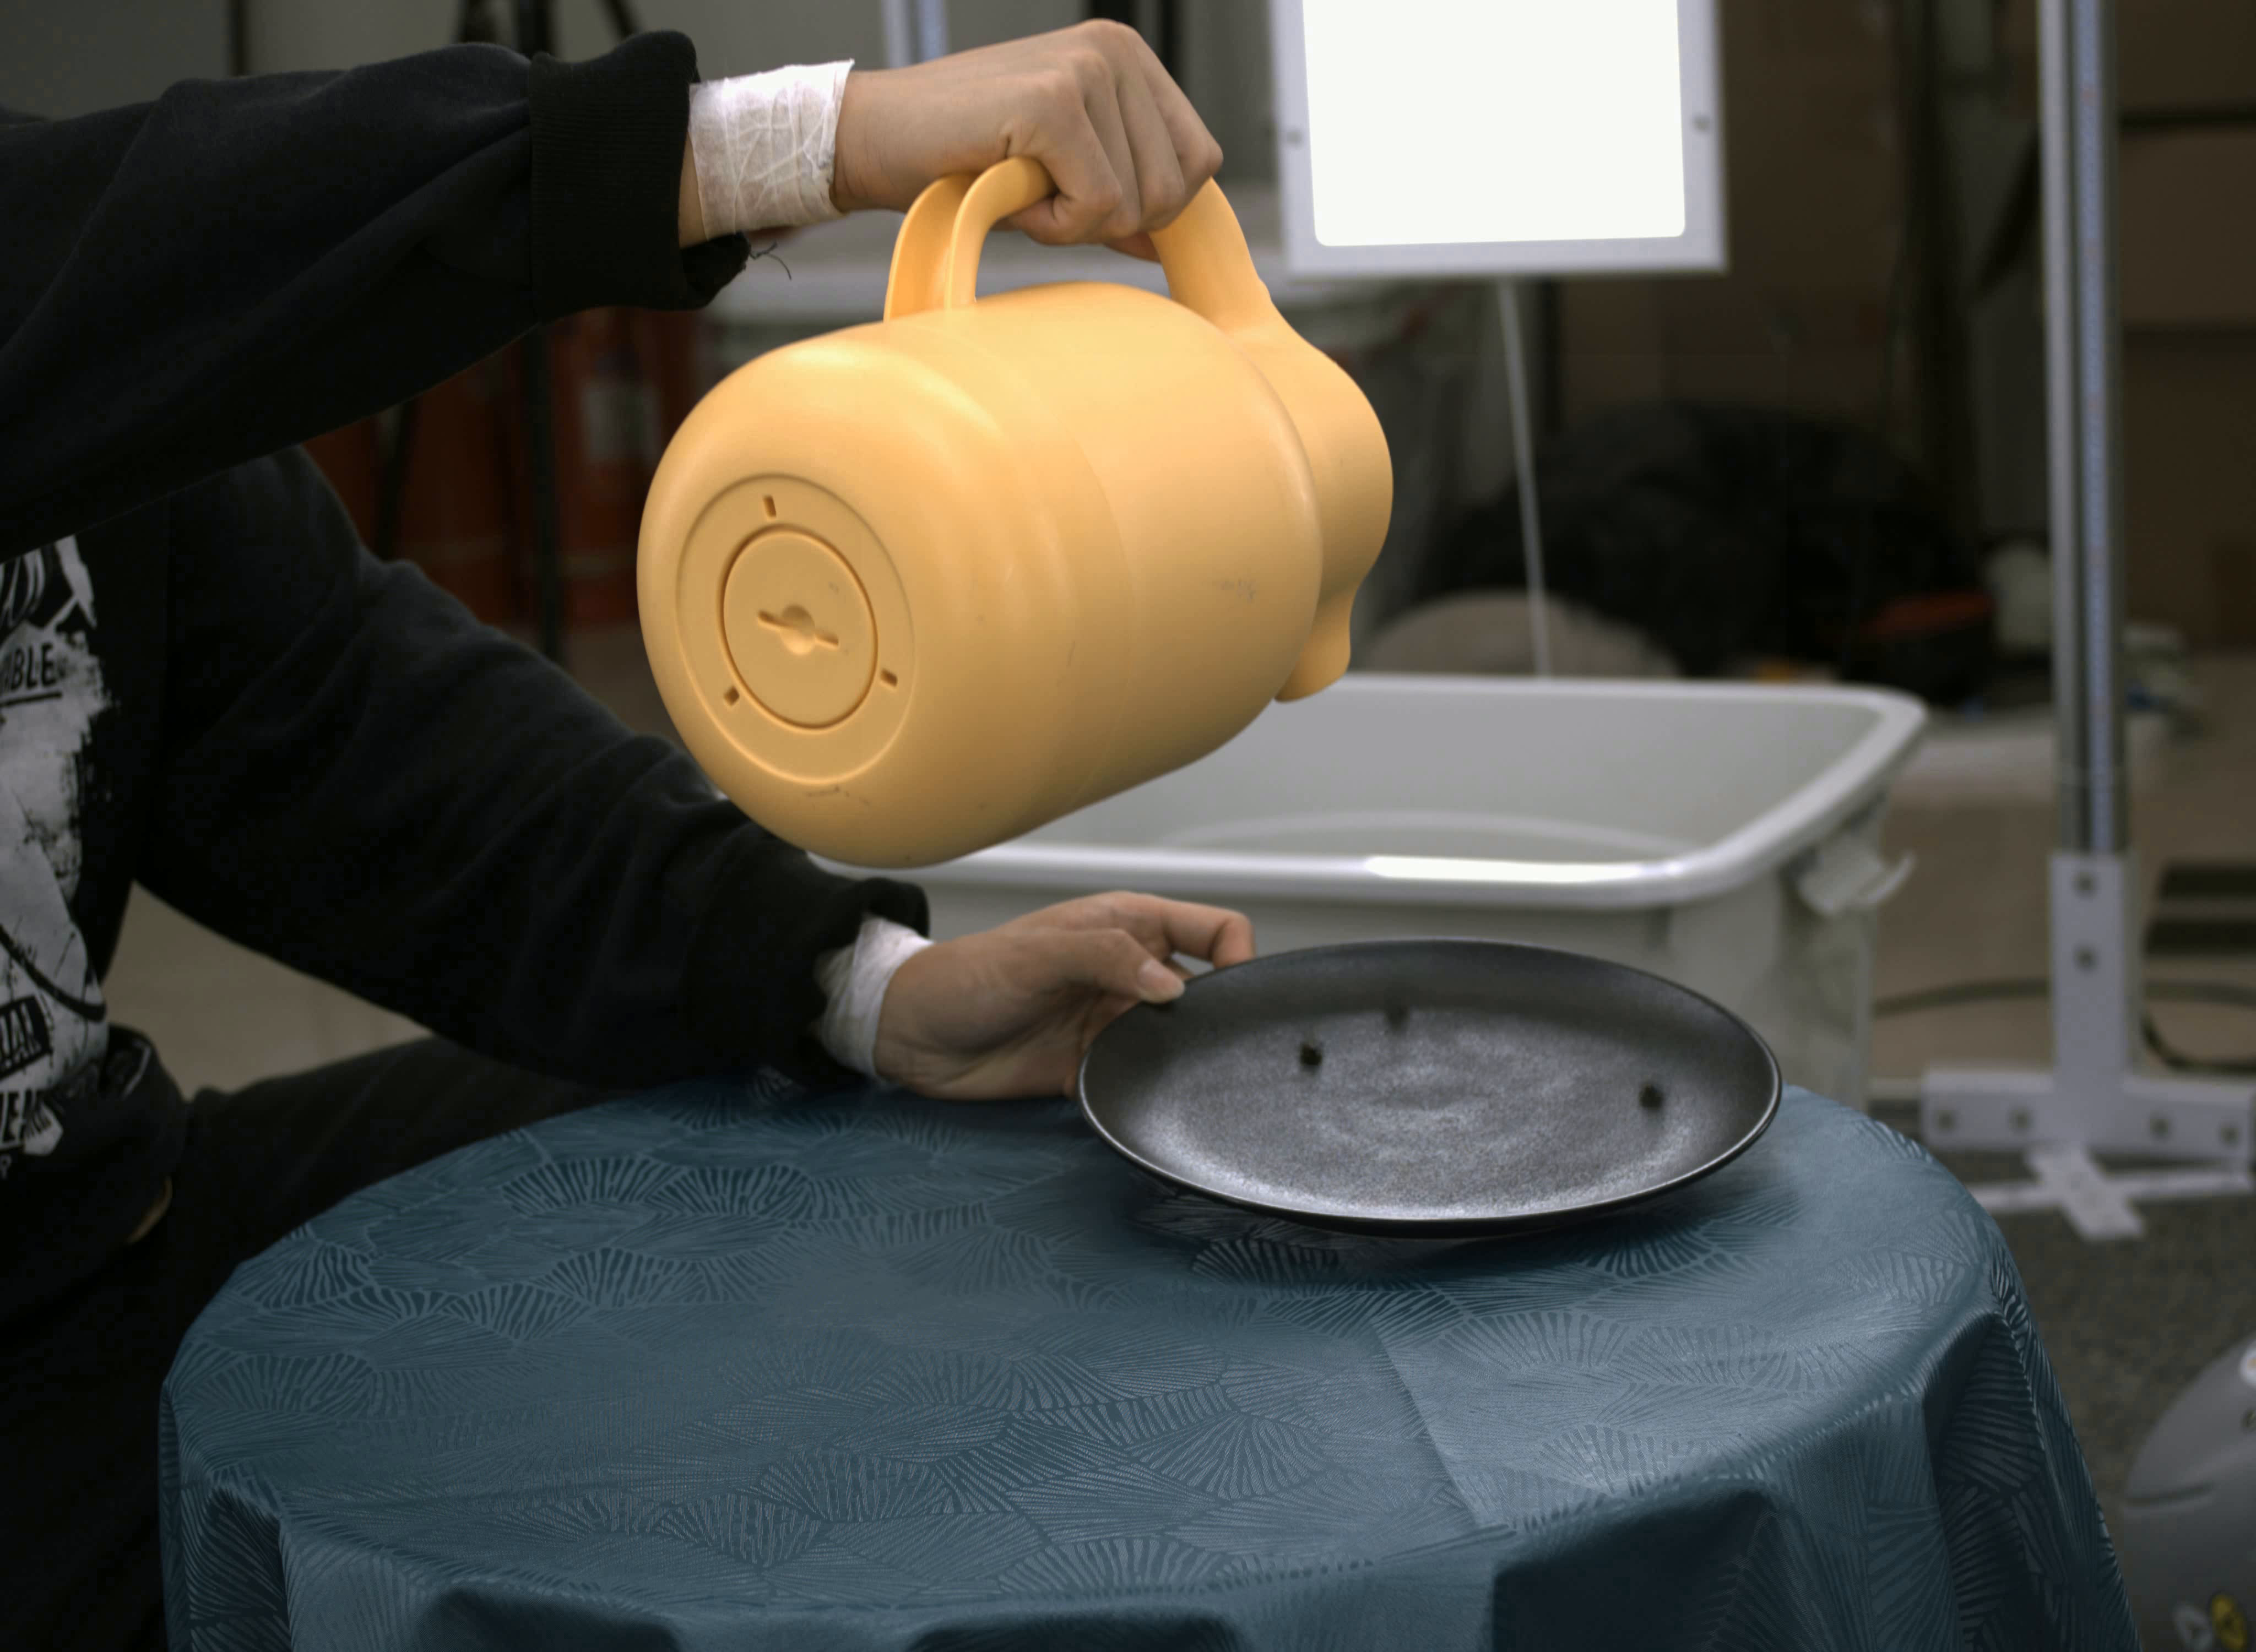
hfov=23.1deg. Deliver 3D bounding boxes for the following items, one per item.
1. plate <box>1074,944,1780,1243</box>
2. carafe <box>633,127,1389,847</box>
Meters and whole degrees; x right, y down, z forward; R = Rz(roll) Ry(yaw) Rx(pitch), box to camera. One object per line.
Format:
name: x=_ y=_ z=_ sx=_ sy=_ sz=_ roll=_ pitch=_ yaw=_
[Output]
plate: x=0.103 y=0.095 z=1.891 sx=0.243 sy=0.023 sz=0.244 roll=-2 pitch=21 yaw=-1
carafe: x=-0.029 y=-0.112 z=1.721 sx=0.167 sy=0.203 sz=0.254 roll=-15 pitch=3 yaw=40
